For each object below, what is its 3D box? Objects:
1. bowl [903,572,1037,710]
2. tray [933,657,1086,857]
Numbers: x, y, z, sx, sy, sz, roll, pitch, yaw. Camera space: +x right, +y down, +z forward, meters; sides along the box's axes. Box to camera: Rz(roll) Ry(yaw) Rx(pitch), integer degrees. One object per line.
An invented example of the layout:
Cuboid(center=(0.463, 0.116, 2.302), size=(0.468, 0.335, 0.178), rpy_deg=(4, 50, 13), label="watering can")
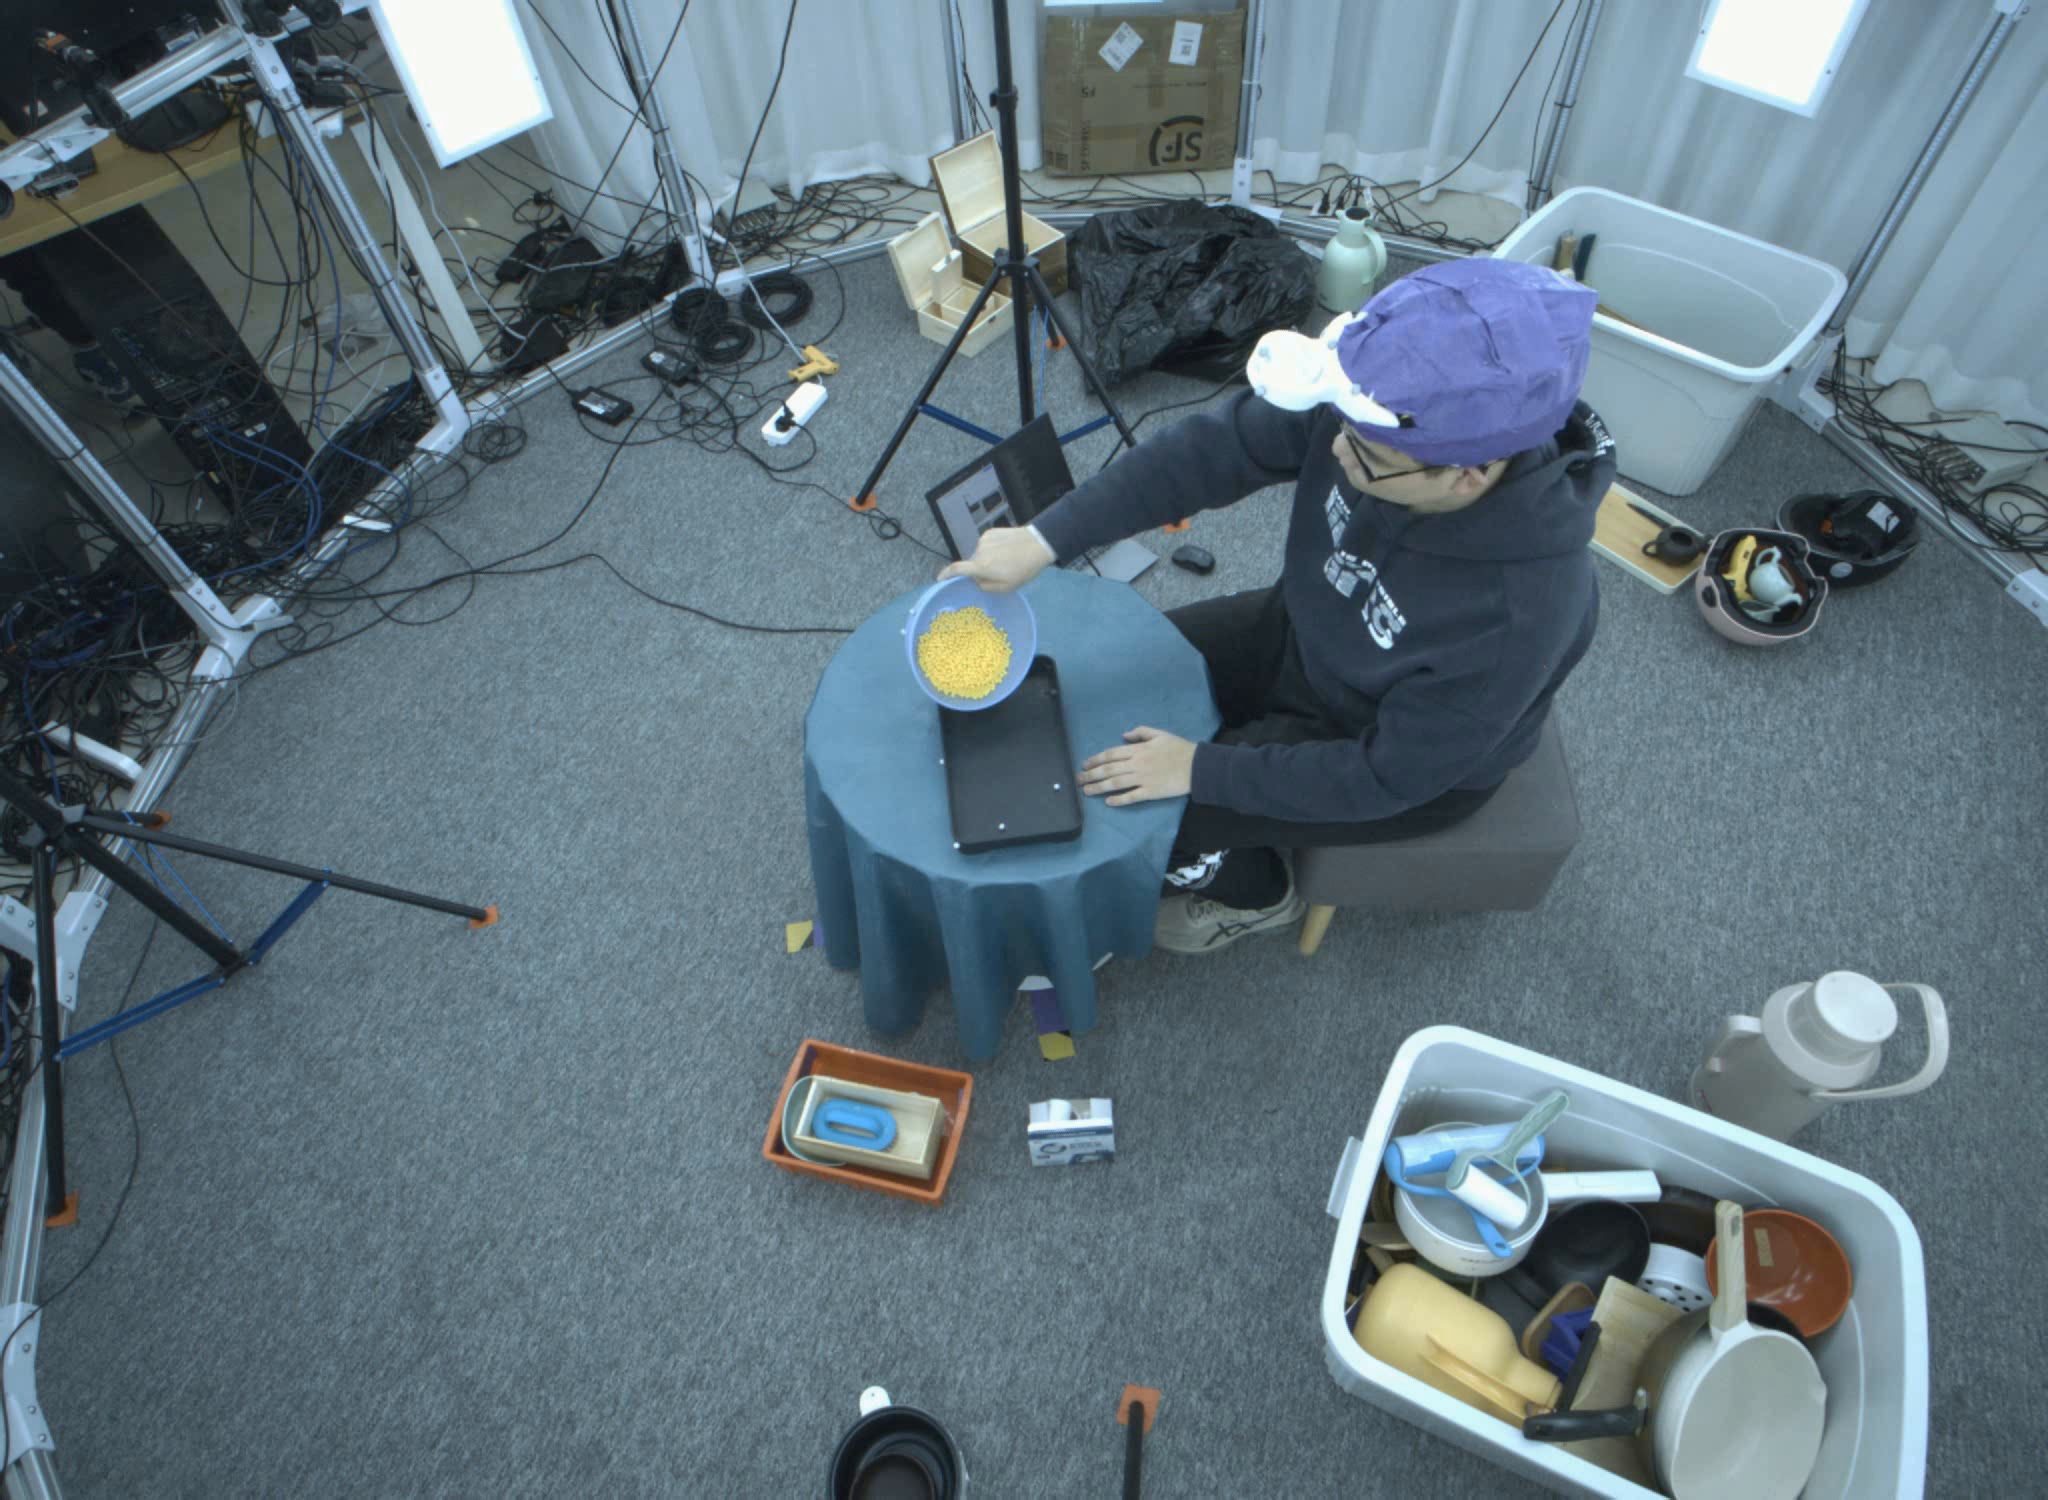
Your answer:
Cuboid(center=(-0.090, -0.163, 1.754), size=(0.198, 0.199, 0.093), rpy_deg=(-28, 27, -16), label="bowl")
Cuboid(center=(-0.025, 0.005, 1.765), size=(0.185, 0.037, 0.313), rpy_deg=(-8, 54, -5), label="tray")
